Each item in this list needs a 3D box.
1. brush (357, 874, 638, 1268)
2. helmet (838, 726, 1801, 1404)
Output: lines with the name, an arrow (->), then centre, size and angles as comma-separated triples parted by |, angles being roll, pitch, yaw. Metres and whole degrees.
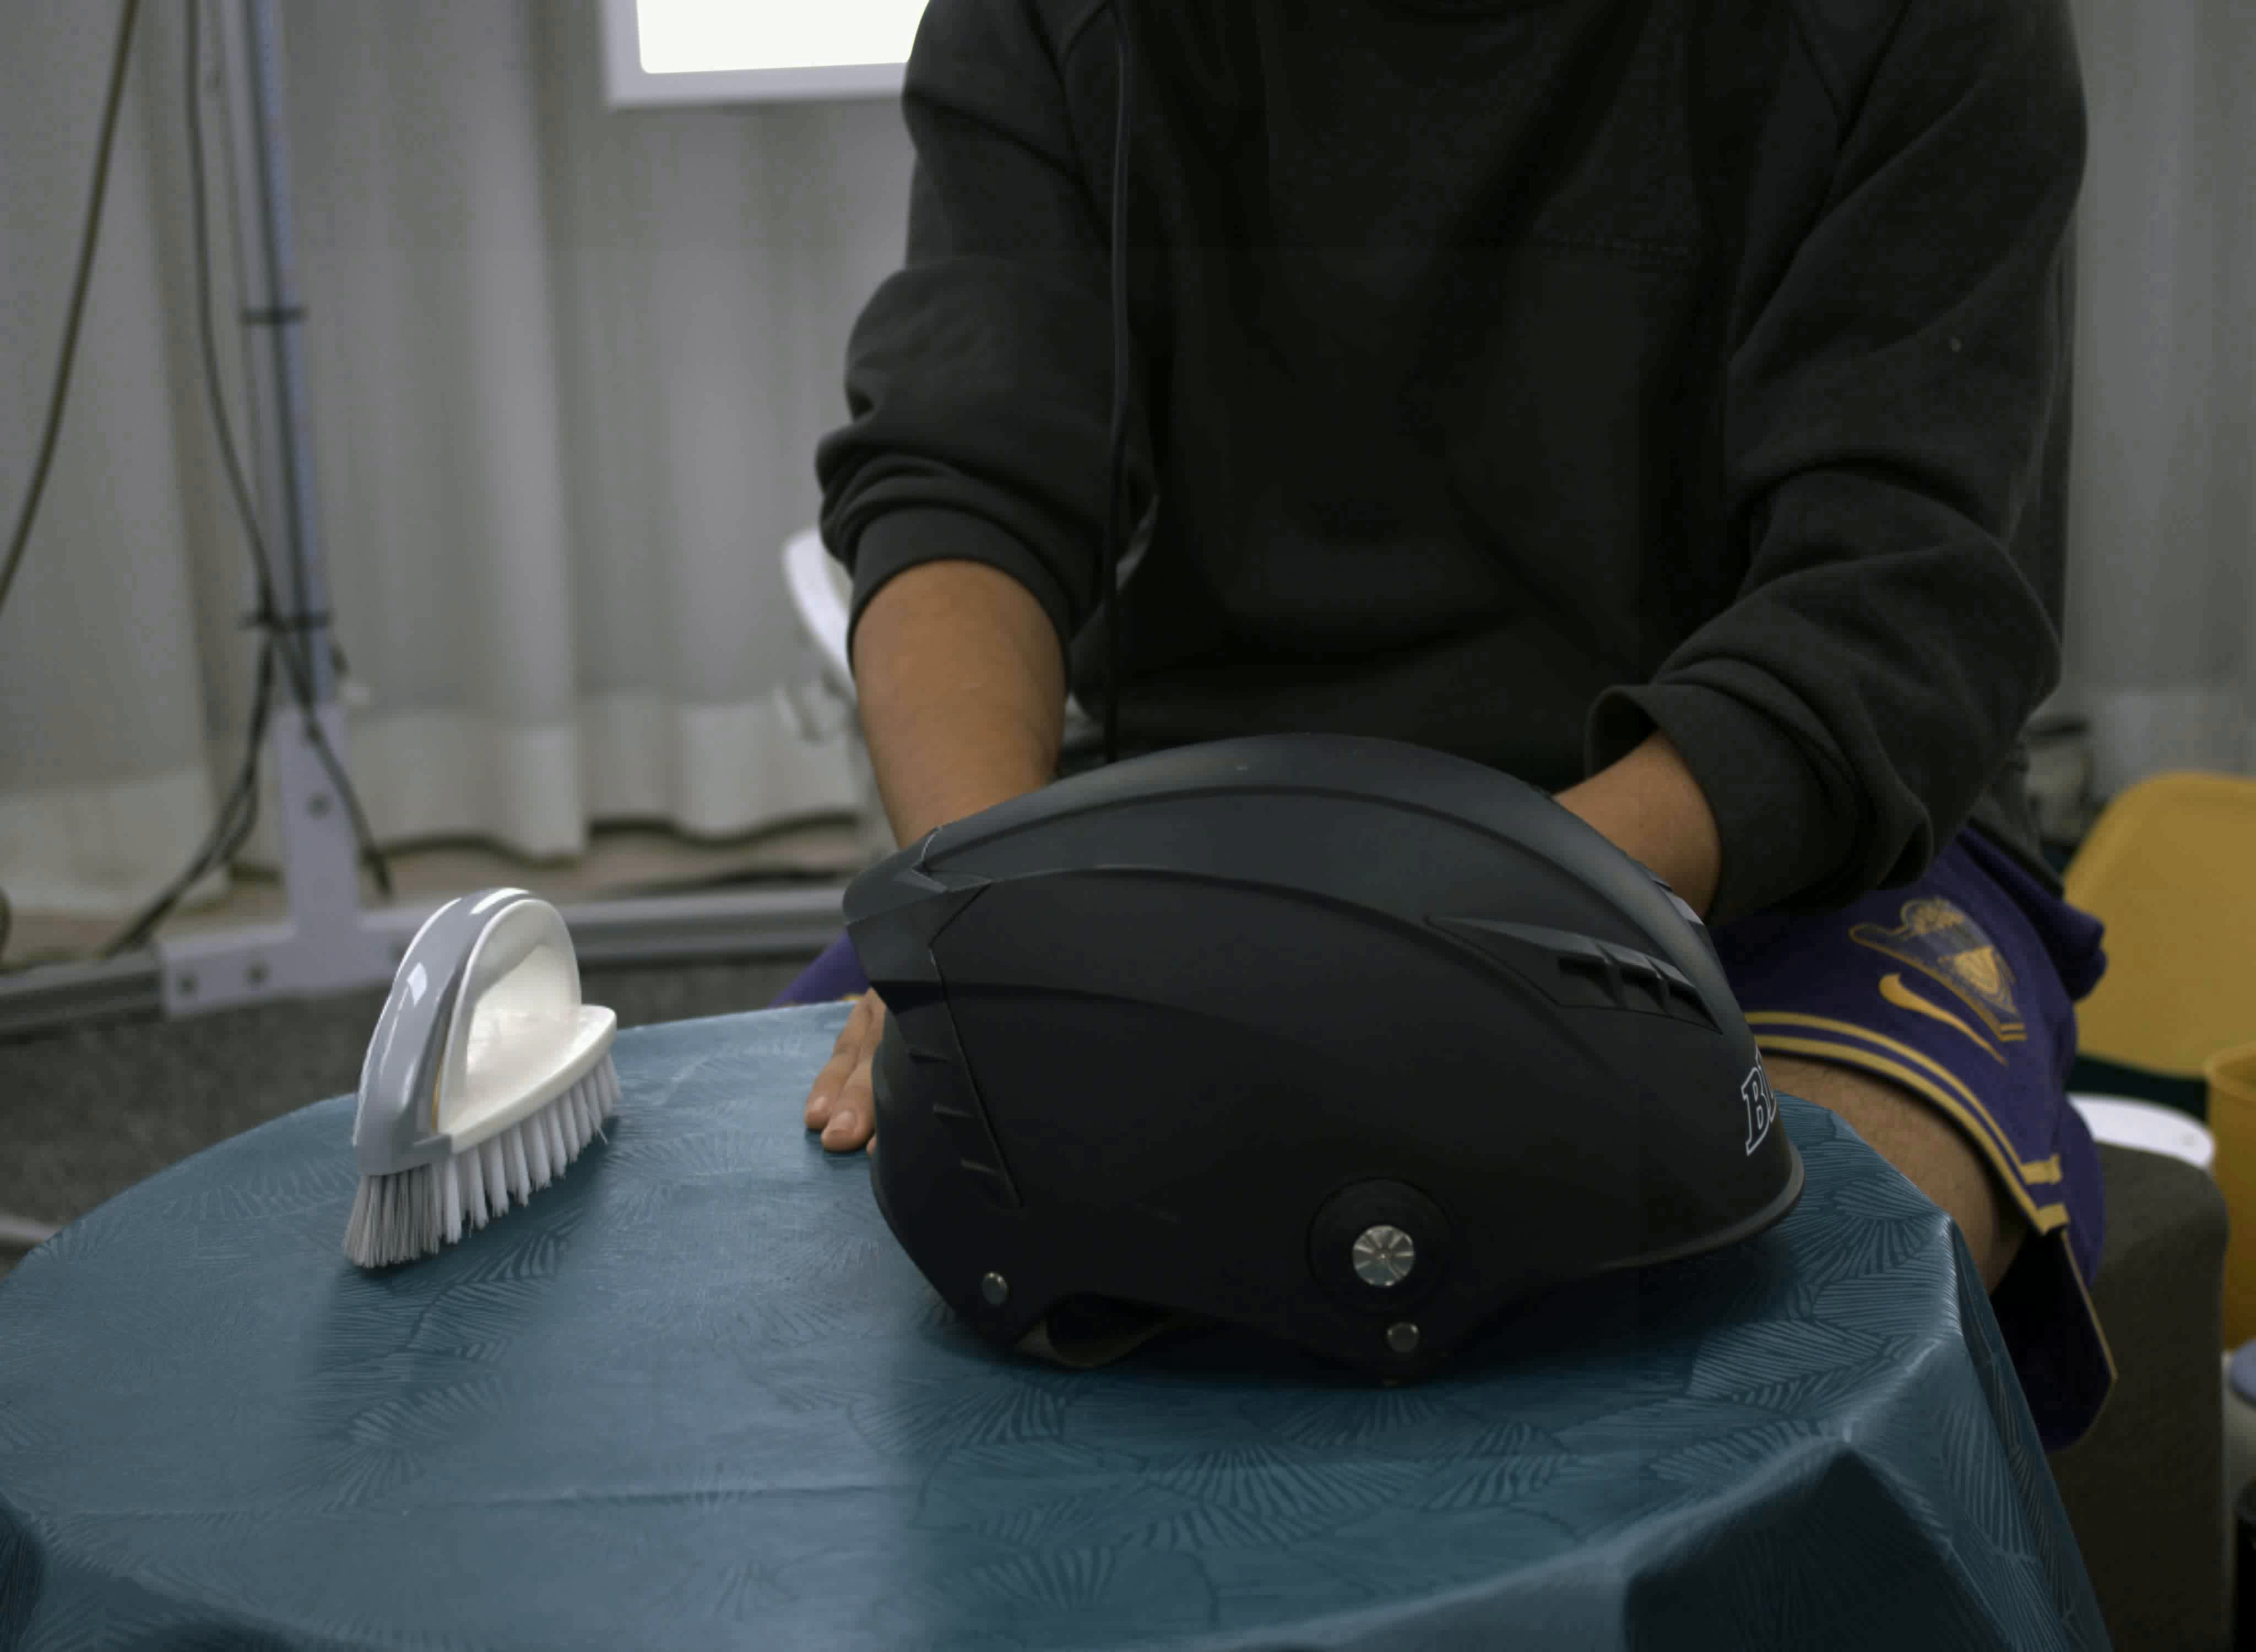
brush -> -0.210, 0.072, 1.742 | 0.061, 0.094, 0.176 | -1, 16, 15
helmet -> 0.055, 0.056, 1.619 | 0.276, 0.172, 0.248 | -4, 15, 12
